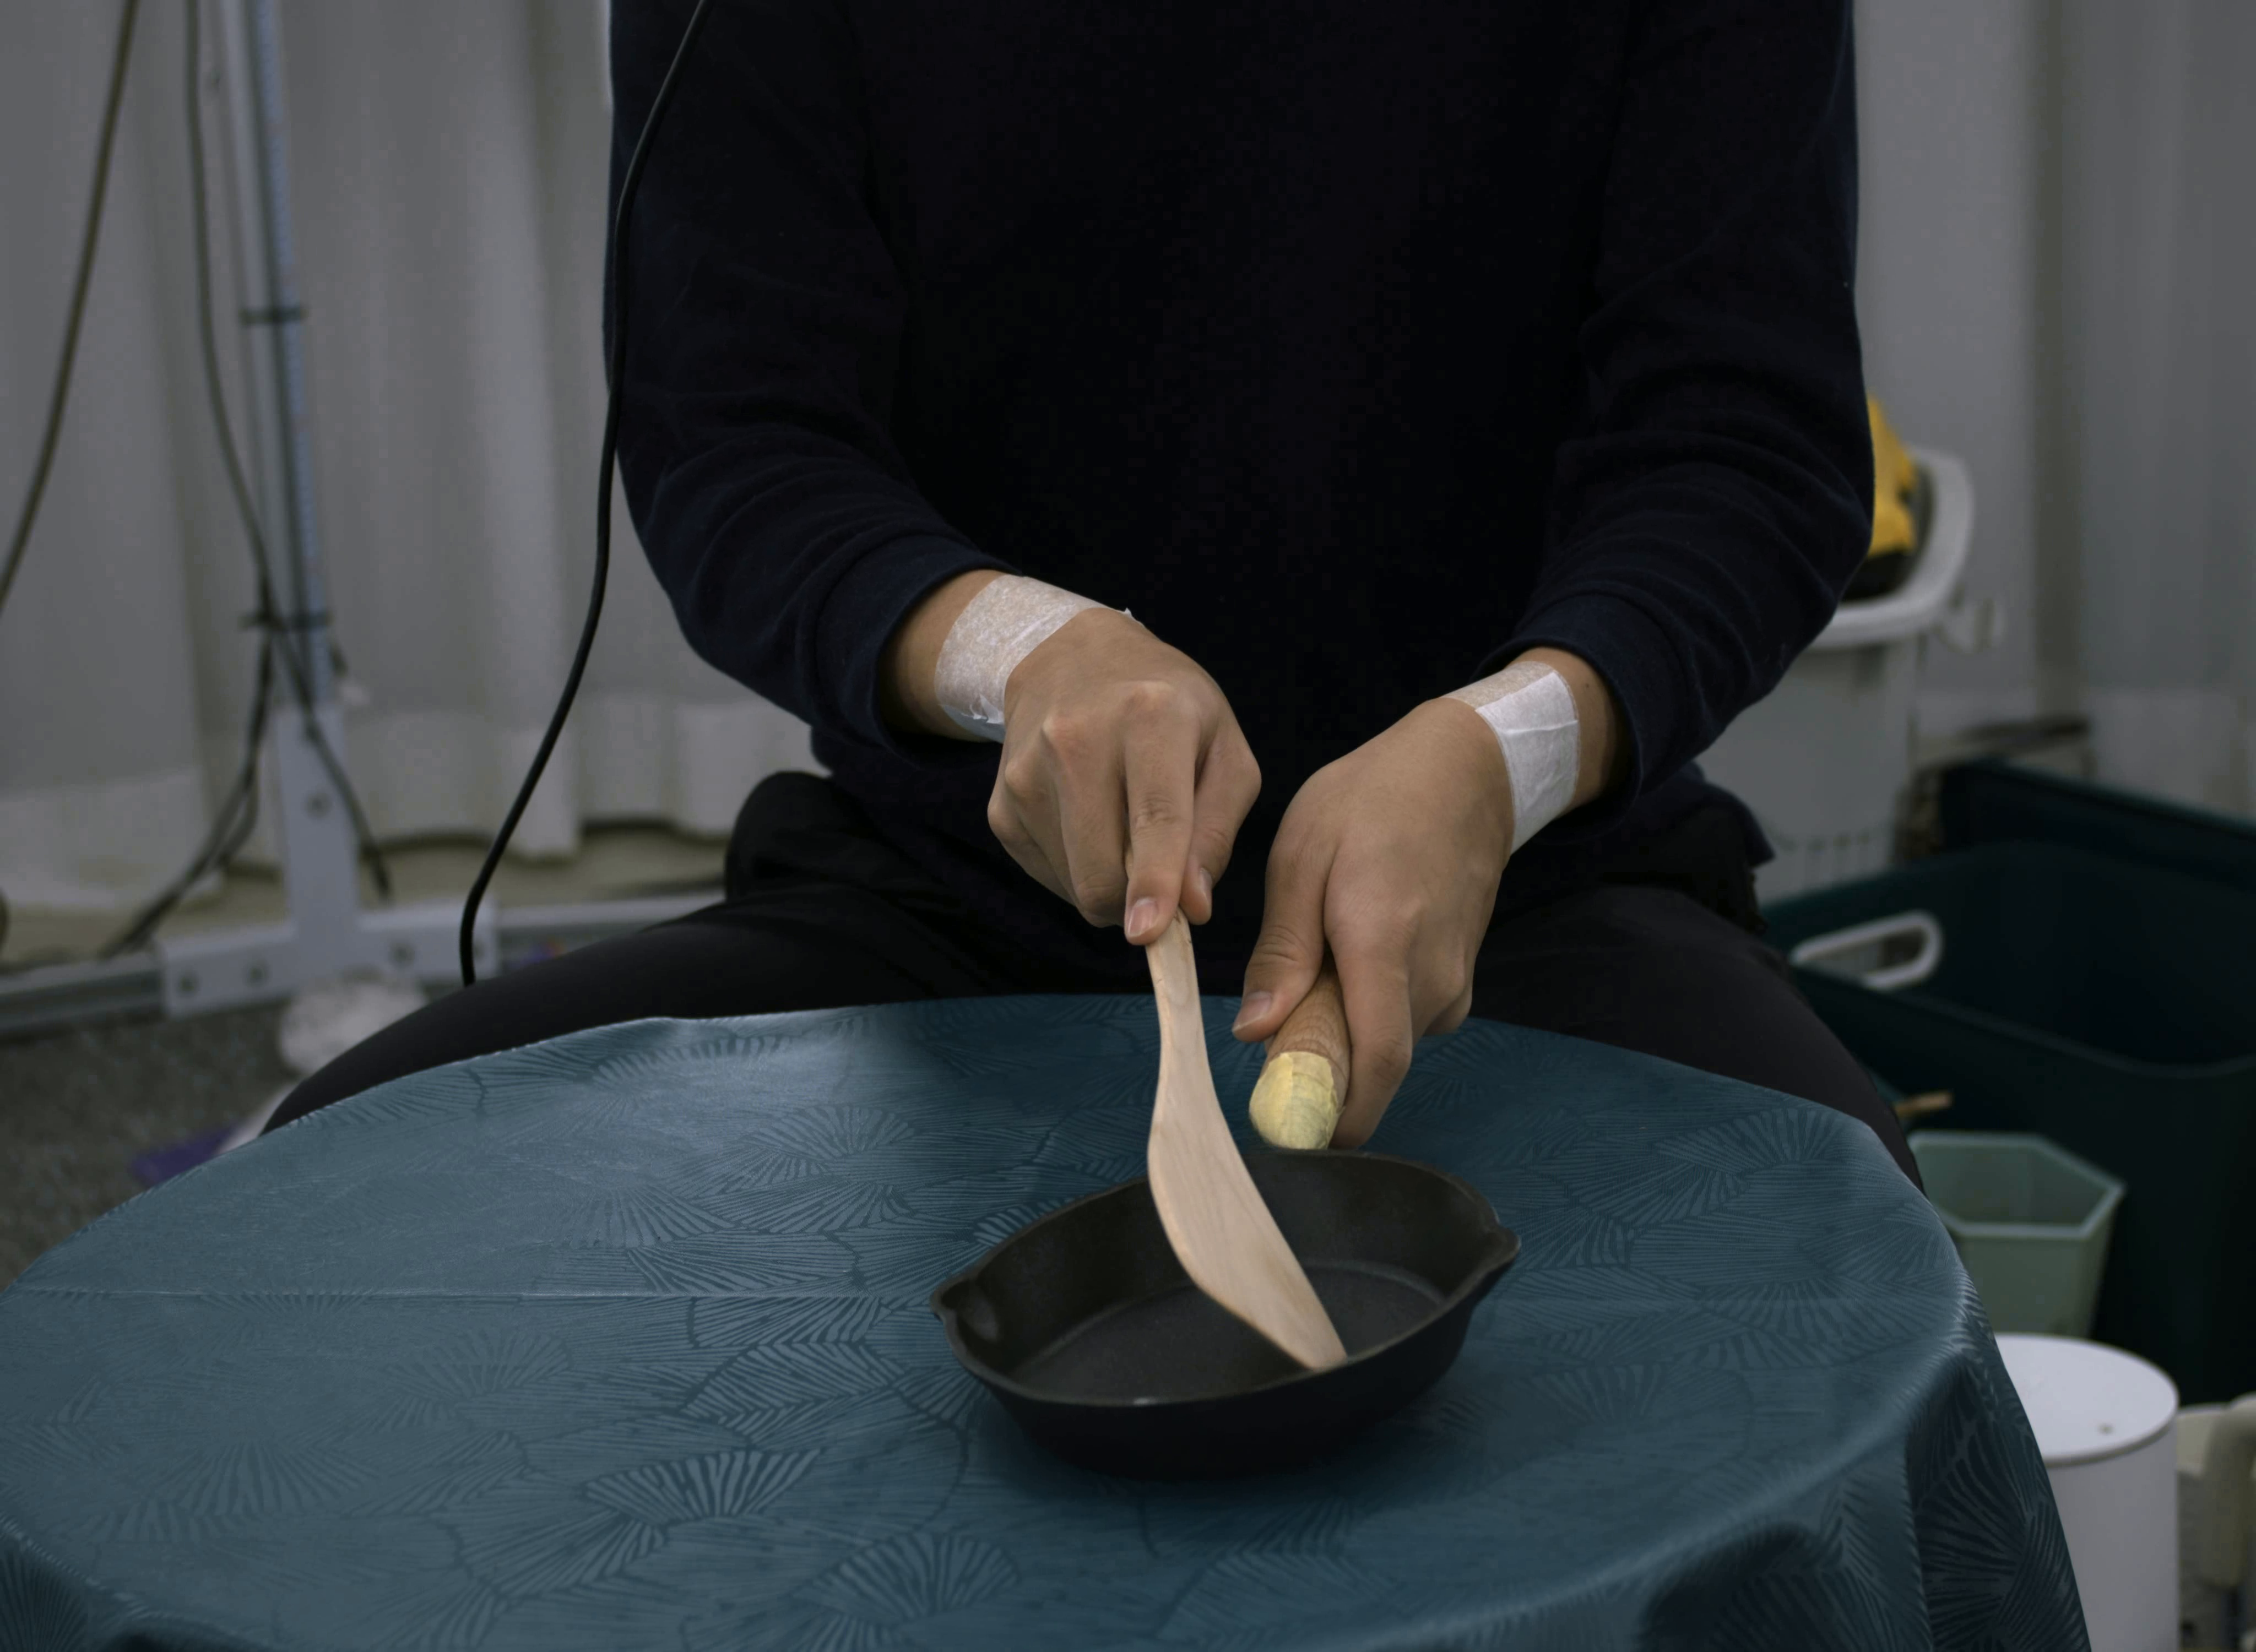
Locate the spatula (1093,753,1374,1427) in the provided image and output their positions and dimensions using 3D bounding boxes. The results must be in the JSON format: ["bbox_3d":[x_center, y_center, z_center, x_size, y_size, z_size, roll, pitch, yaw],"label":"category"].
[{"bbox_3d":[0.021,0.065,1.589,0.016,0.079,0.332,-39,28,15],"label":"spatula"}]

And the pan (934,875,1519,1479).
[{"bbox_3d":[0.047,0.099,1.598,0.169,0.049,0.327,-5,22,16],"label":"pan"}]
